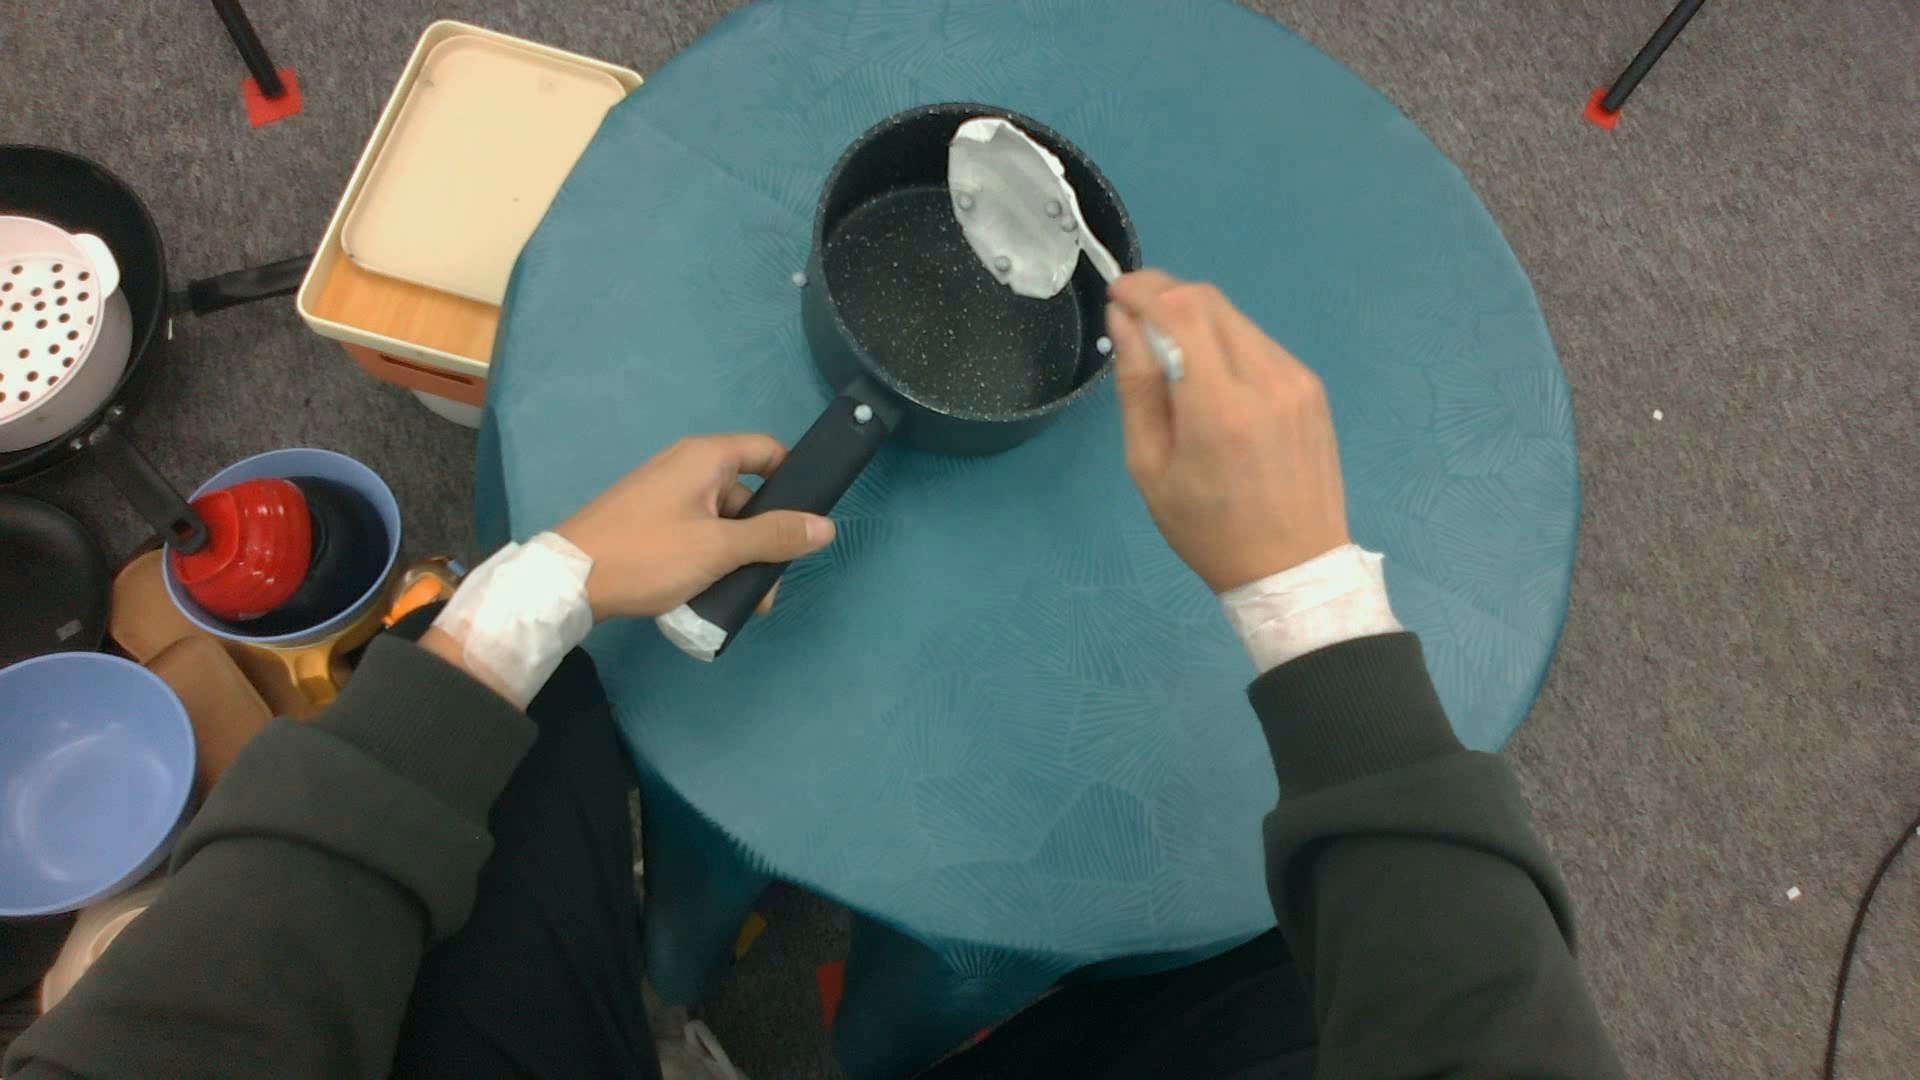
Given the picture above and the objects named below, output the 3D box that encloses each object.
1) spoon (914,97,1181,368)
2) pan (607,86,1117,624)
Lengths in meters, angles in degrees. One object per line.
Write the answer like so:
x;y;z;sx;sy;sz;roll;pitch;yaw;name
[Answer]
0.029;-0.122;0.600;0.059;0.100;0.278;-15;31;-2;spoon
-0.055;-0.082;0.686;0.172;0.086;0.330;38;67;-2;pan
